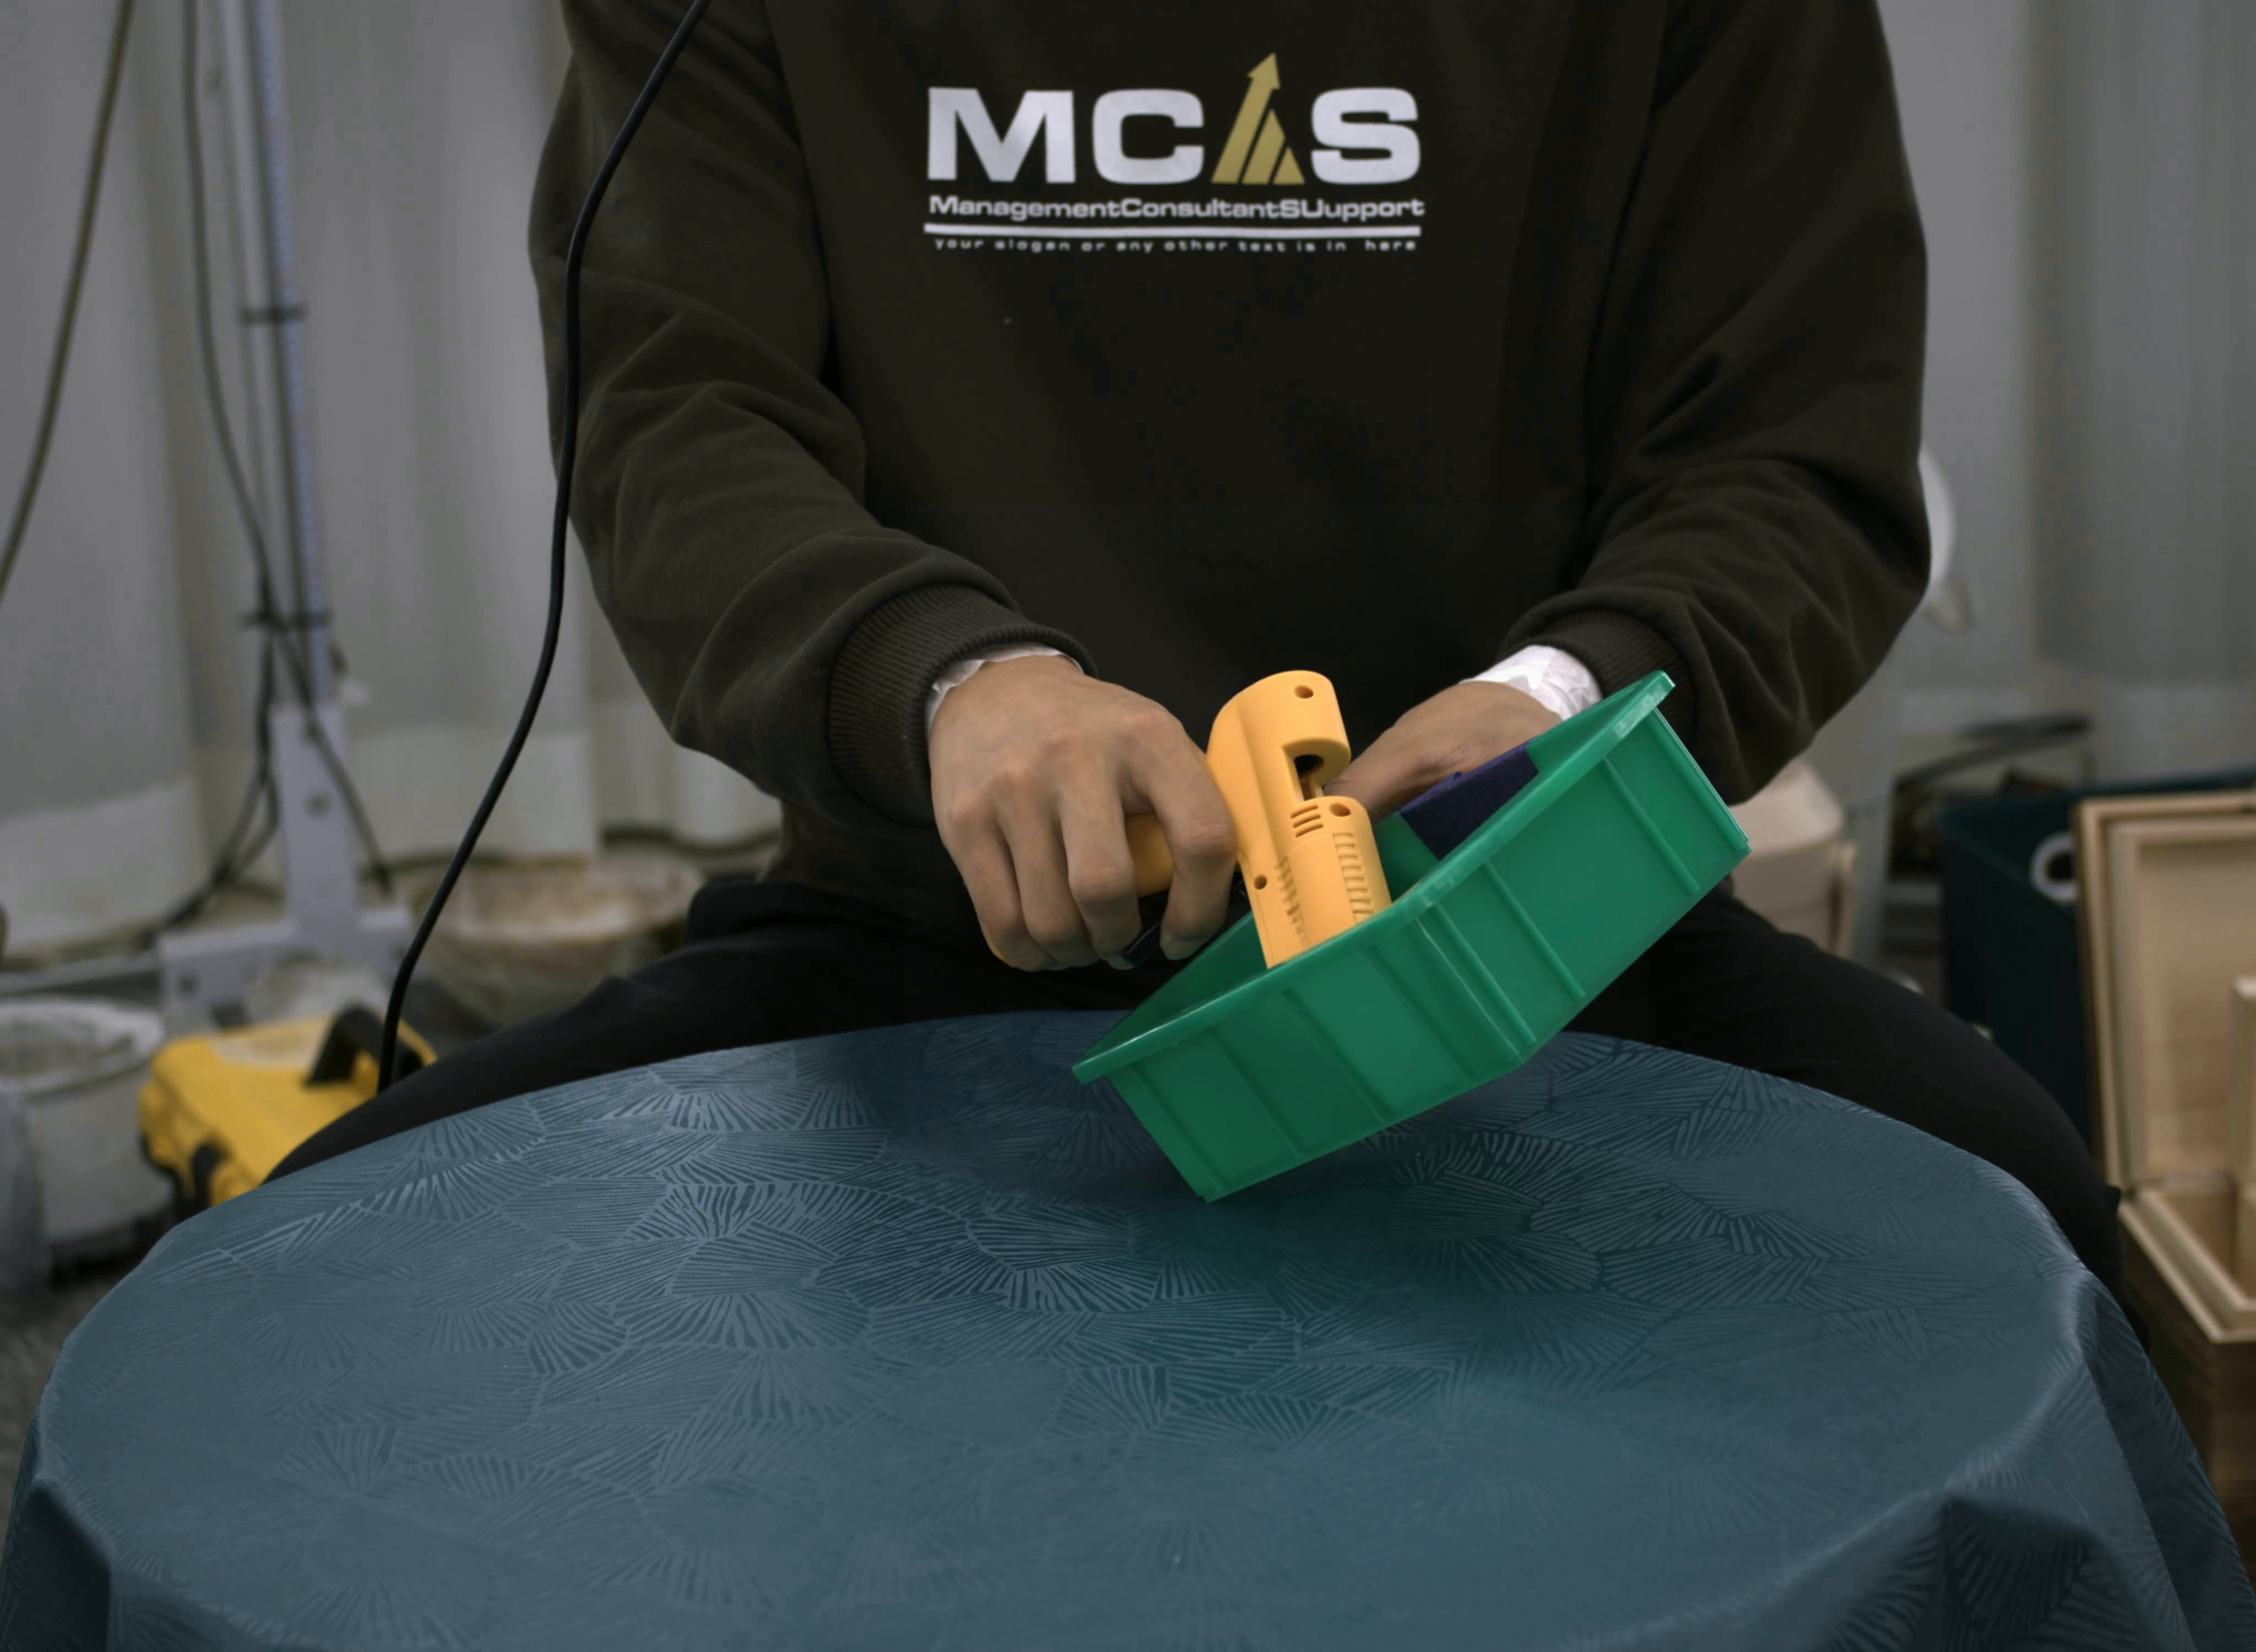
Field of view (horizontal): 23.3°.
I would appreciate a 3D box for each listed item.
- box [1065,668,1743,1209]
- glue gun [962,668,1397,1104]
[{"bbox_3d":[0.085,0.040,1.662,0.139,0.065,0.209,-37,2,-36],"label":"box"},{"bbox_3d":[0.024,0.039,1.661,0.132,0.153,0.031,-28,-36,13],"label":"glue gun"}]
